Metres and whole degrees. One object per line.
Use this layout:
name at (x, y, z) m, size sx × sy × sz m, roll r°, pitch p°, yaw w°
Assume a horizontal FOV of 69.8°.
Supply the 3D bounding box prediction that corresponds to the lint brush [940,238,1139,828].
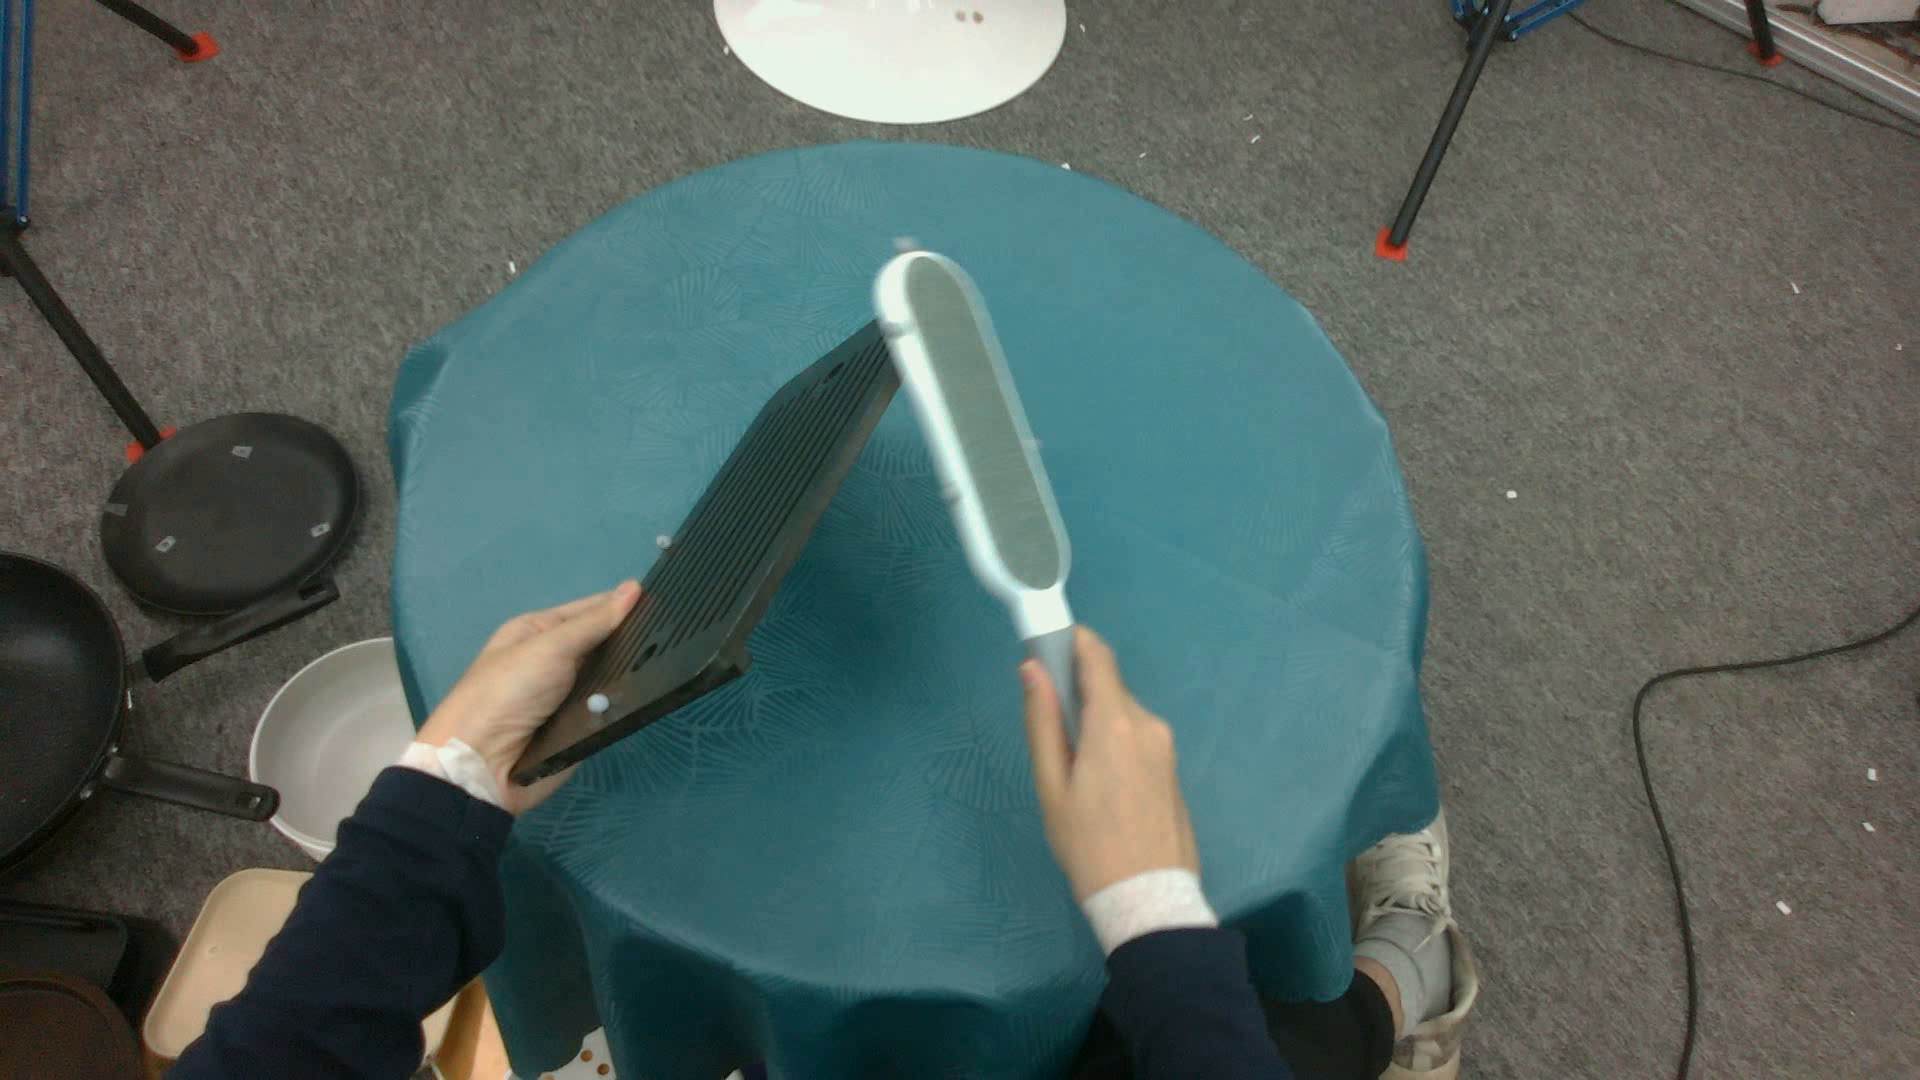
lint brush at (0.041, -0.010, 0.687) m, size 0.060 × 0.021 × 0.309 m, roll 0°, pitch 71°, yaw -46°

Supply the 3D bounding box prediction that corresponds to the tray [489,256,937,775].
tray at (-0.110, -0.020, 0.677) m, size 0.018 × 0.169 × 0.307 m, roll 45°, pitch 42°, yaw -20°
